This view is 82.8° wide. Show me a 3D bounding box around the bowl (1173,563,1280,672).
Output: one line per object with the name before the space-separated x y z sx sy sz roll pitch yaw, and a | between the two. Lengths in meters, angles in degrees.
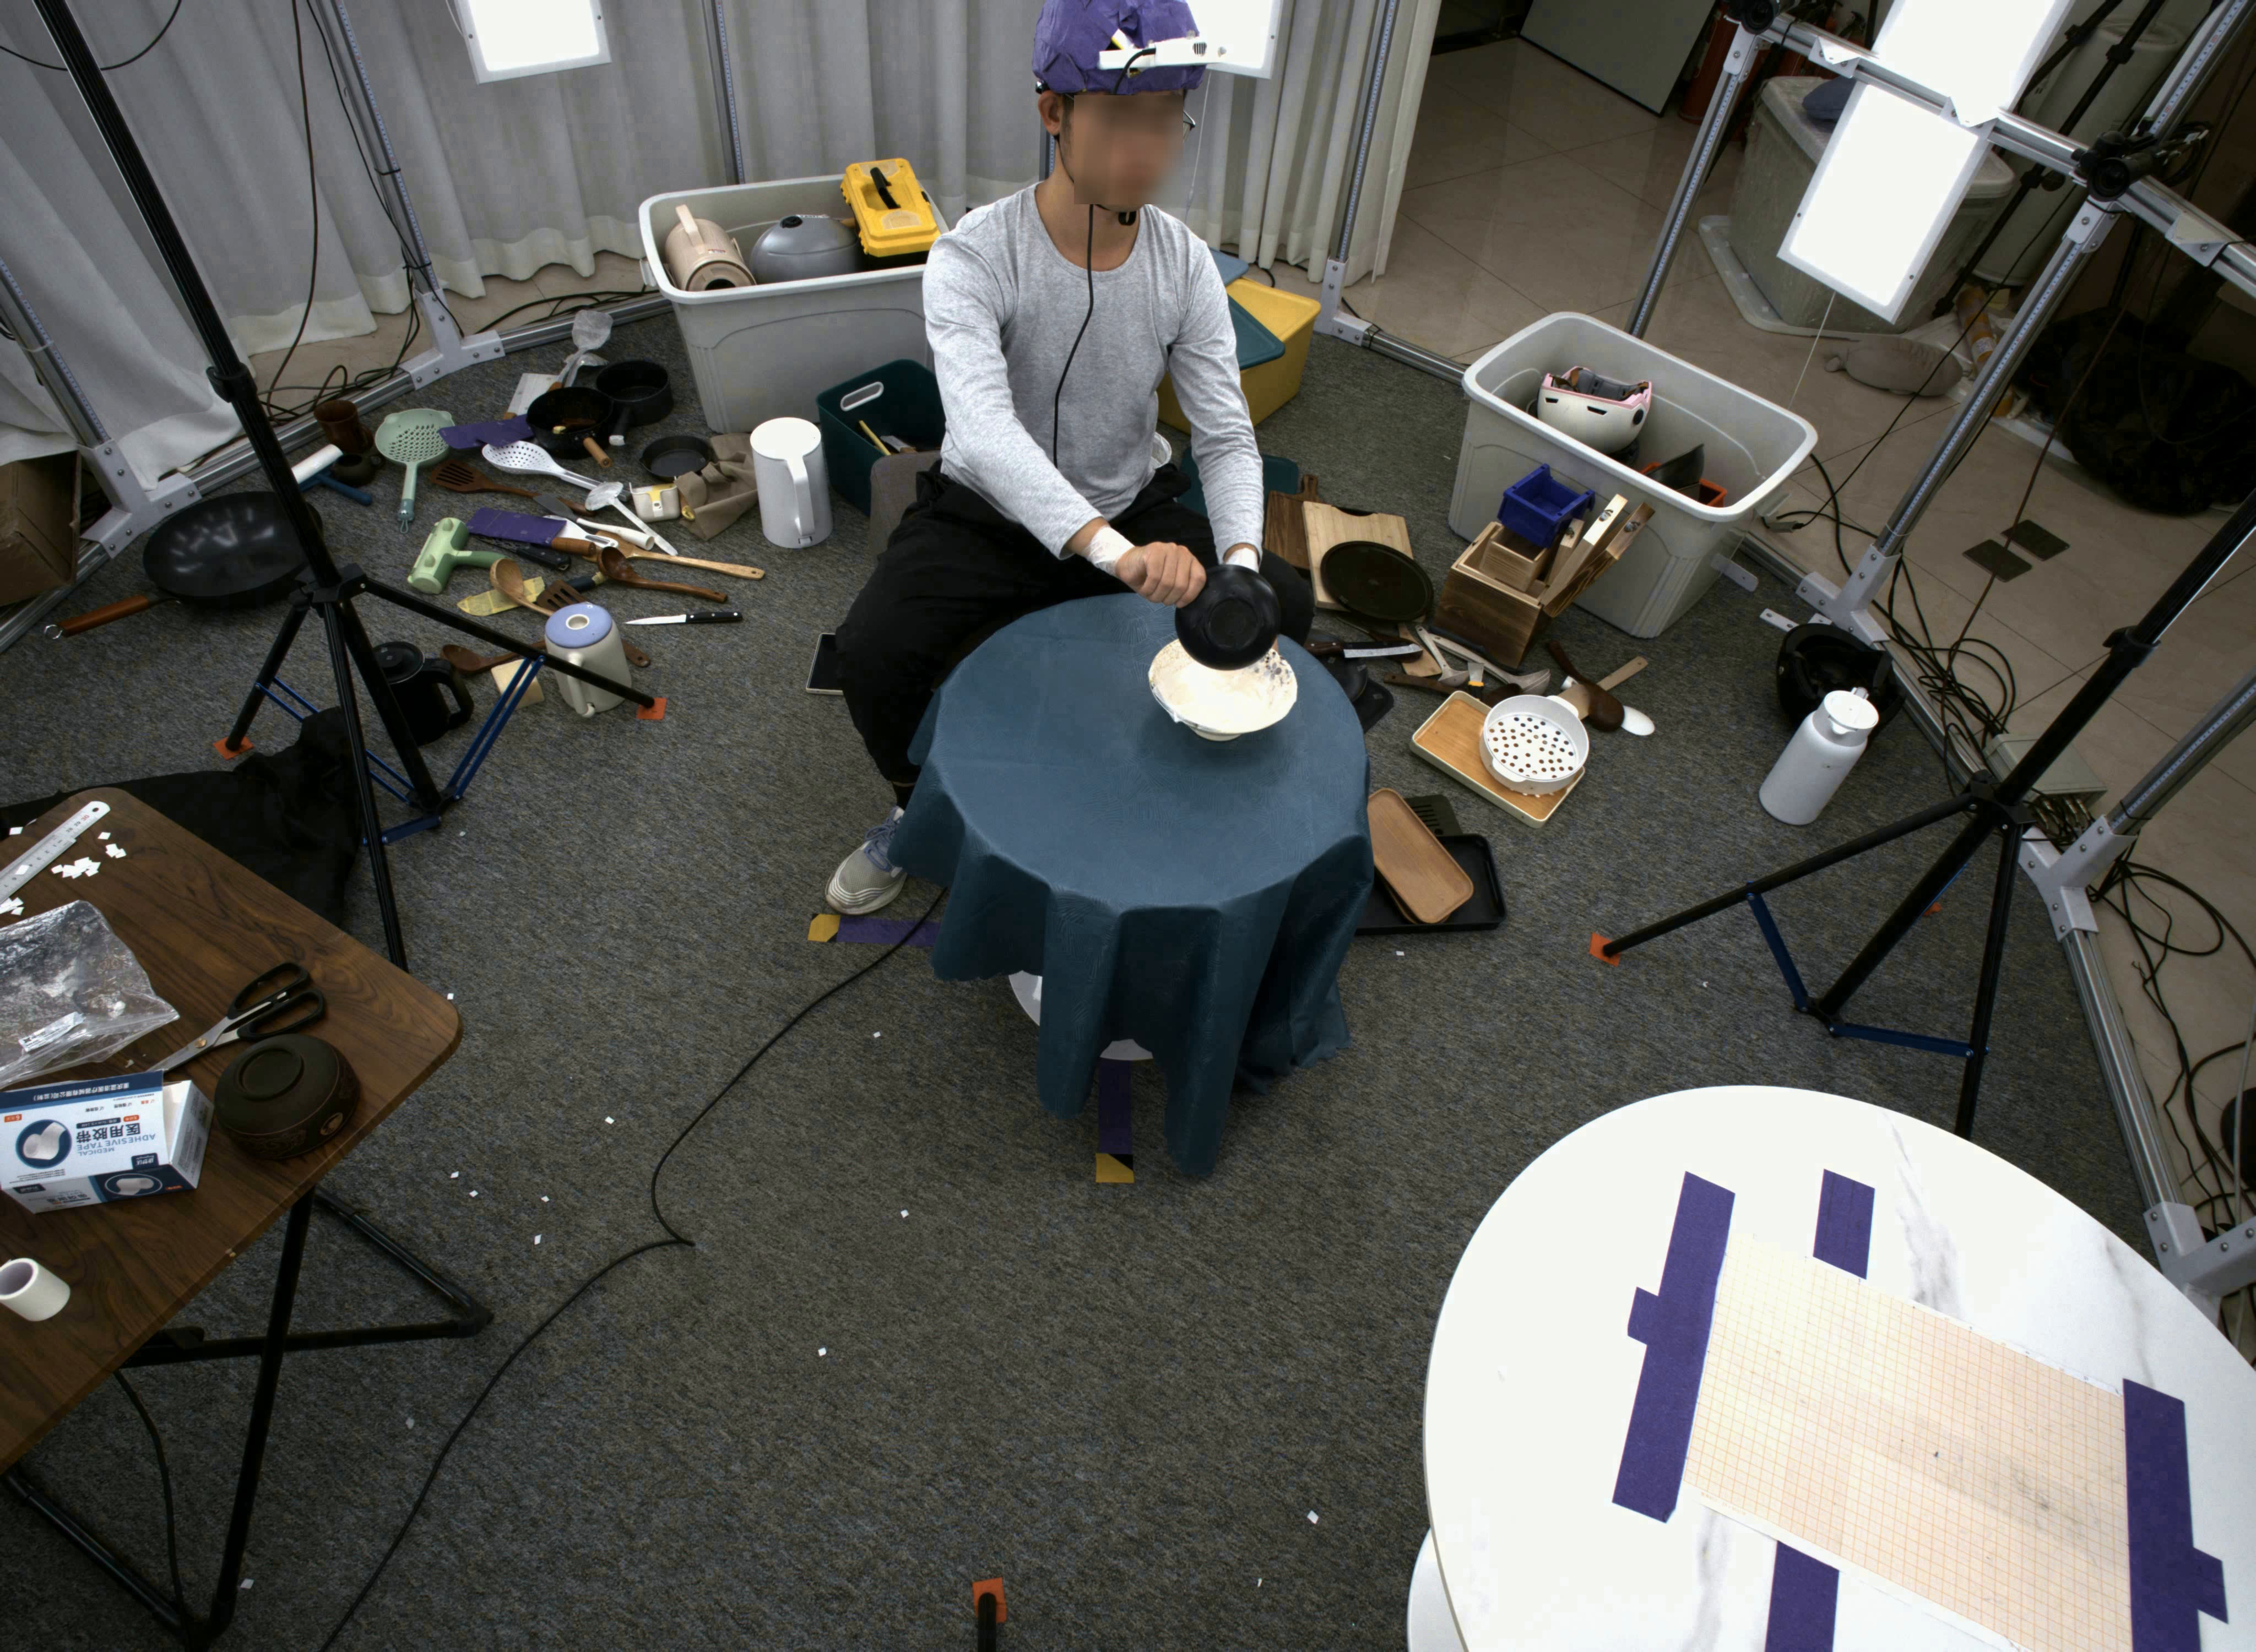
bowl | 0.130 -0.262 1.630 0.140 0.138 0.050 -3 14 -7

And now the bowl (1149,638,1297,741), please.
bowl | 0.127 -0.175 1.776 0.204 0.076 0.209 2 48 -3
